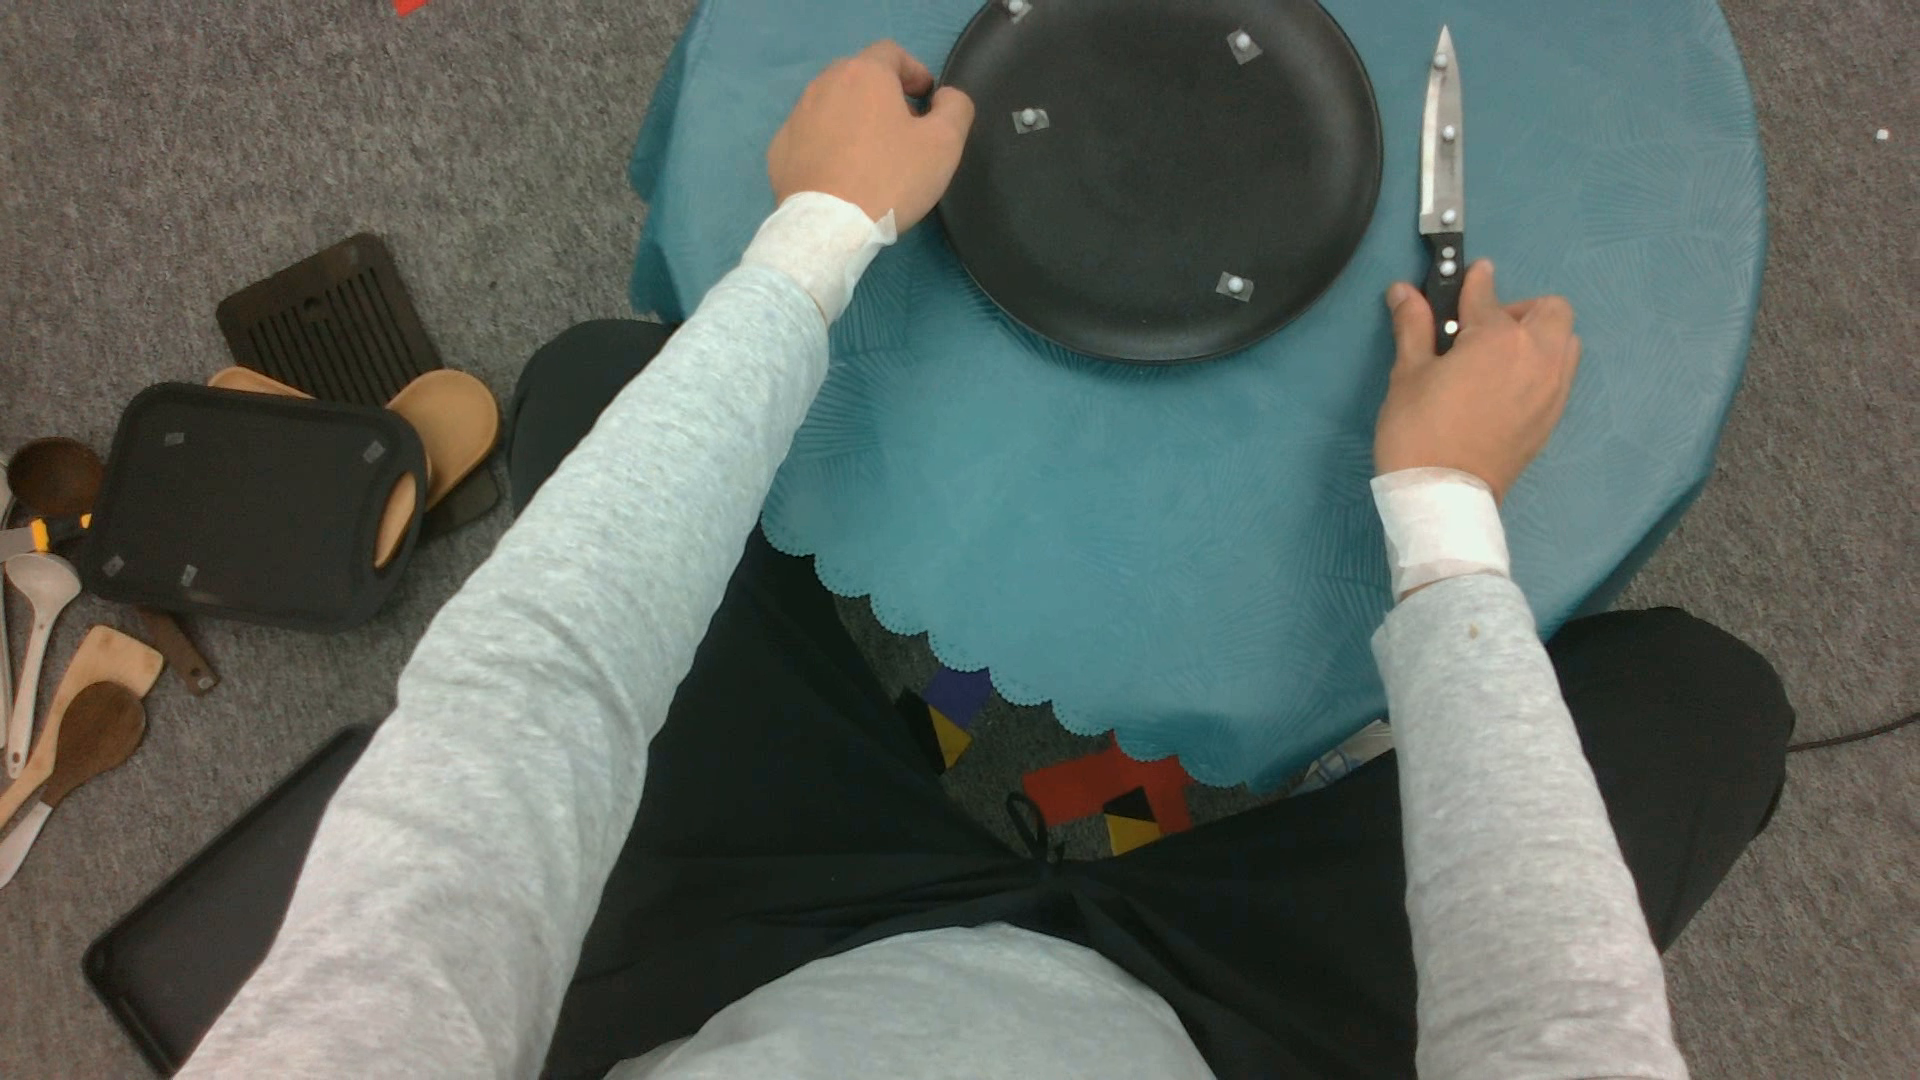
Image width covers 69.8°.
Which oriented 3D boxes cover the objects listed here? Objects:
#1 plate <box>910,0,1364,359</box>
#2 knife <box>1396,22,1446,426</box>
[{"bbox_3d":[0.095,-0.213,0.747,0.244,0.023,0.245,0,79,0],"label":"plate"},{"bbox_3d":[0.250,-0.176,0.745,0.024,0.016,0.238,1,76,10],"label":"knife"}]
